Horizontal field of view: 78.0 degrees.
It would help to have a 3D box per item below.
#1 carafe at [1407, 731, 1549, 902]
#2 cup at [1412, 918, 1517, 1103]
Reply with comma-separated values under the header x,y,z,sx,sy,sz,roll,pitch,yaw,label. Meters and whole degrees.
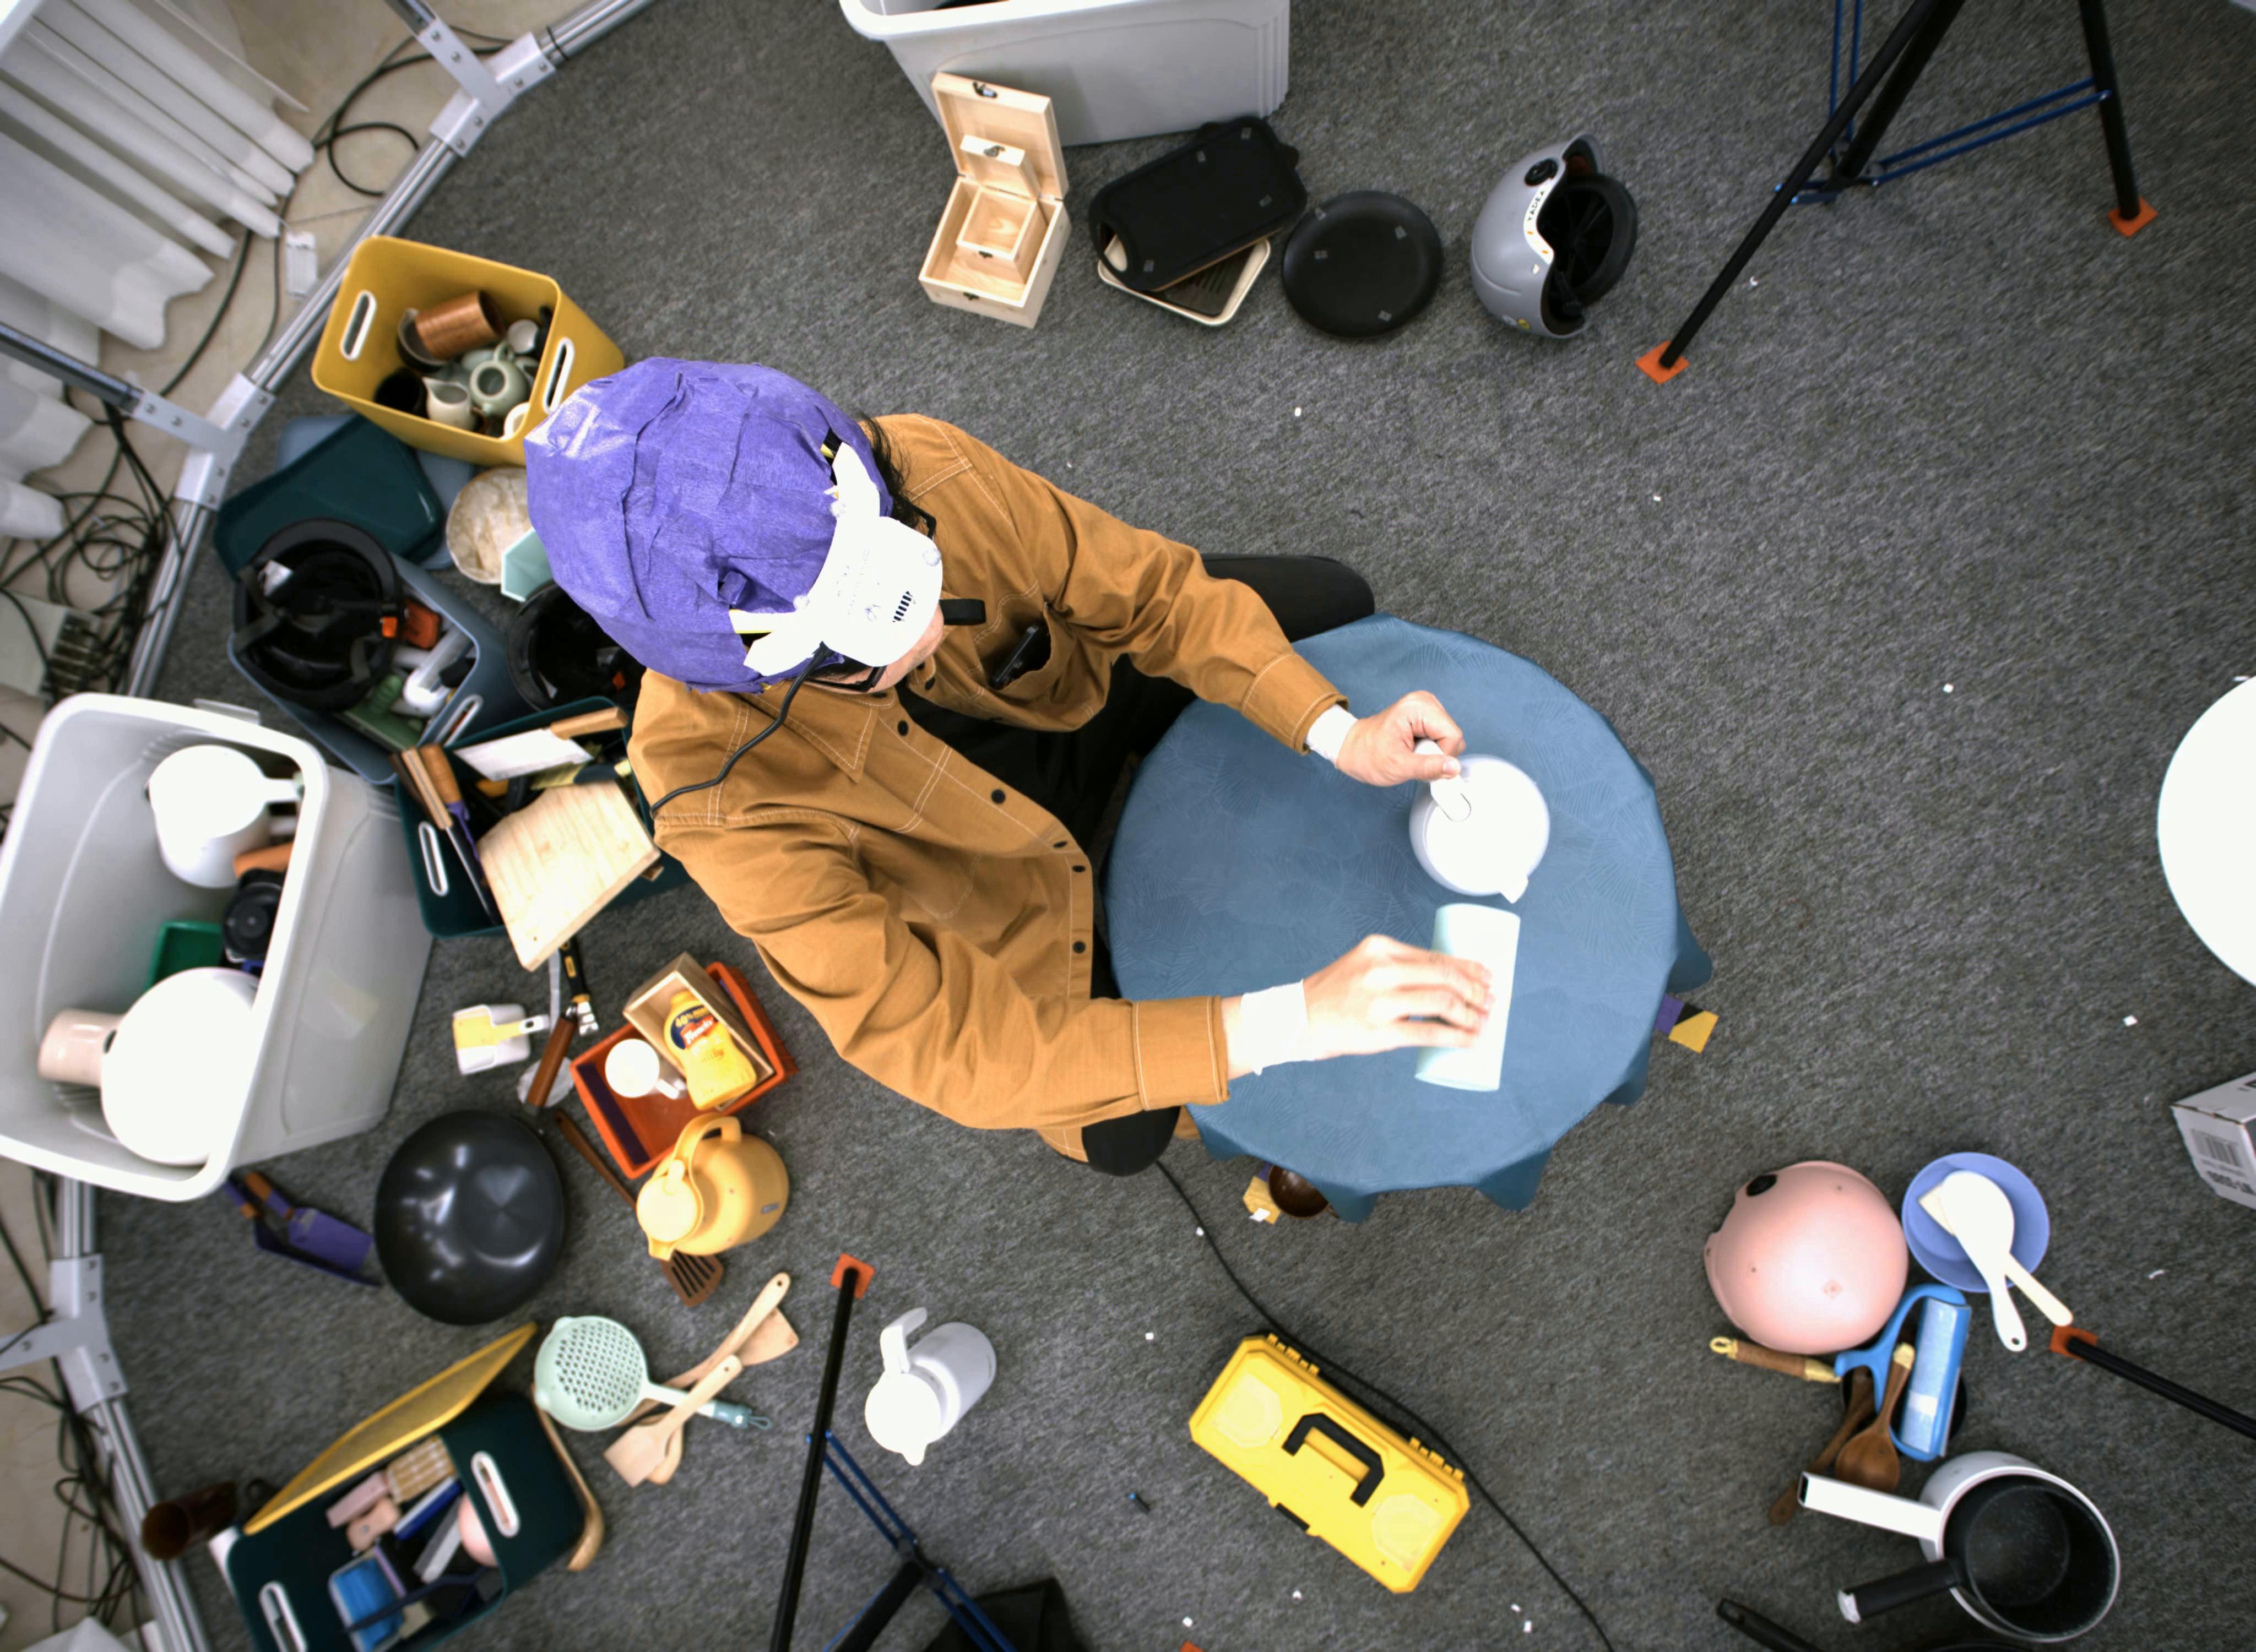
x,y,z,sx,sy,sz,roll,pitch,yaw,label
0.312,-0.014,1.270,0.134,0.247,0.167,-34,85,13,carafe
0.258,0.140,1.063,0.067,0.067,0.131,9,79,11,cup
